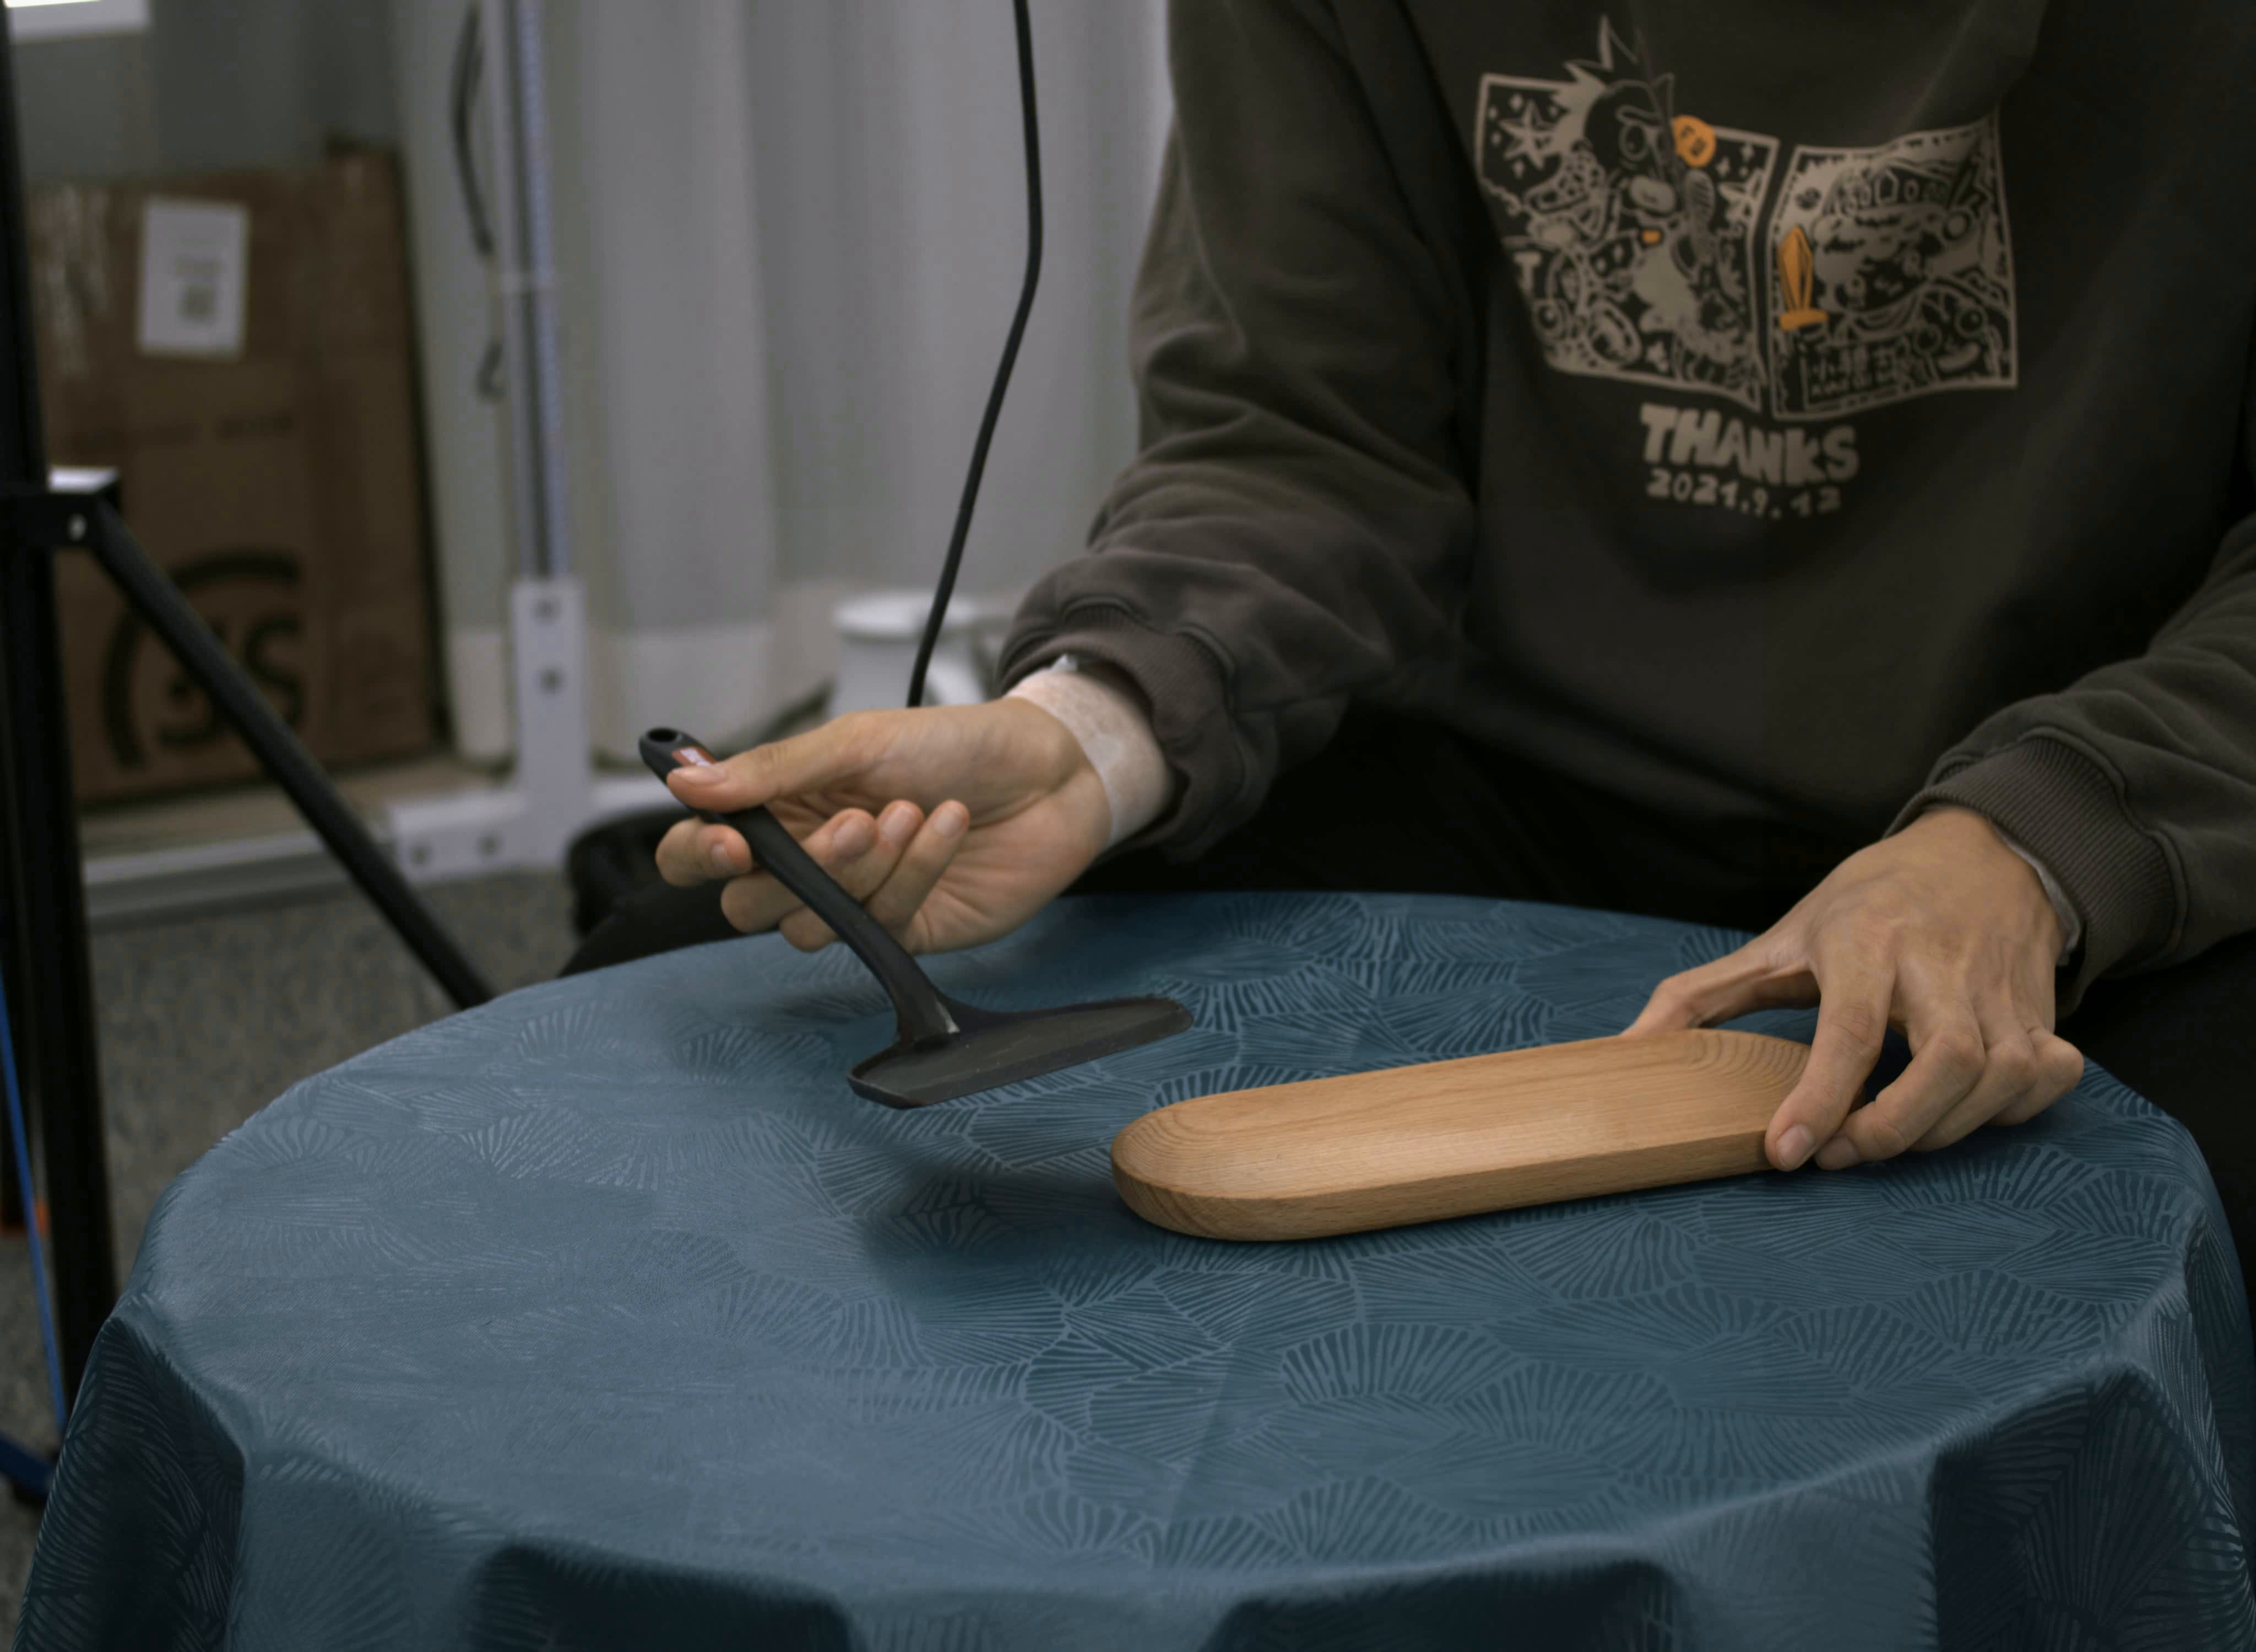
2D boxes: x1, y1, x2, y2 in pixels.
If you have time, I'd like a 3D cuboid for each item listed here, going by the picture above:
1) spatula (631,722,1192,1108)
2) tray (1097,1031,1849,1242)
[{"bbox_3d":[-0.091,0.020,1.654,0.098,0.040,0.333,-14,29,-22],"label":"spatula"},{"bbox_3d":[0.104,0.092,1.571,0.227,0.020,0.103,-8,15,-14],"label":"tray"}]
